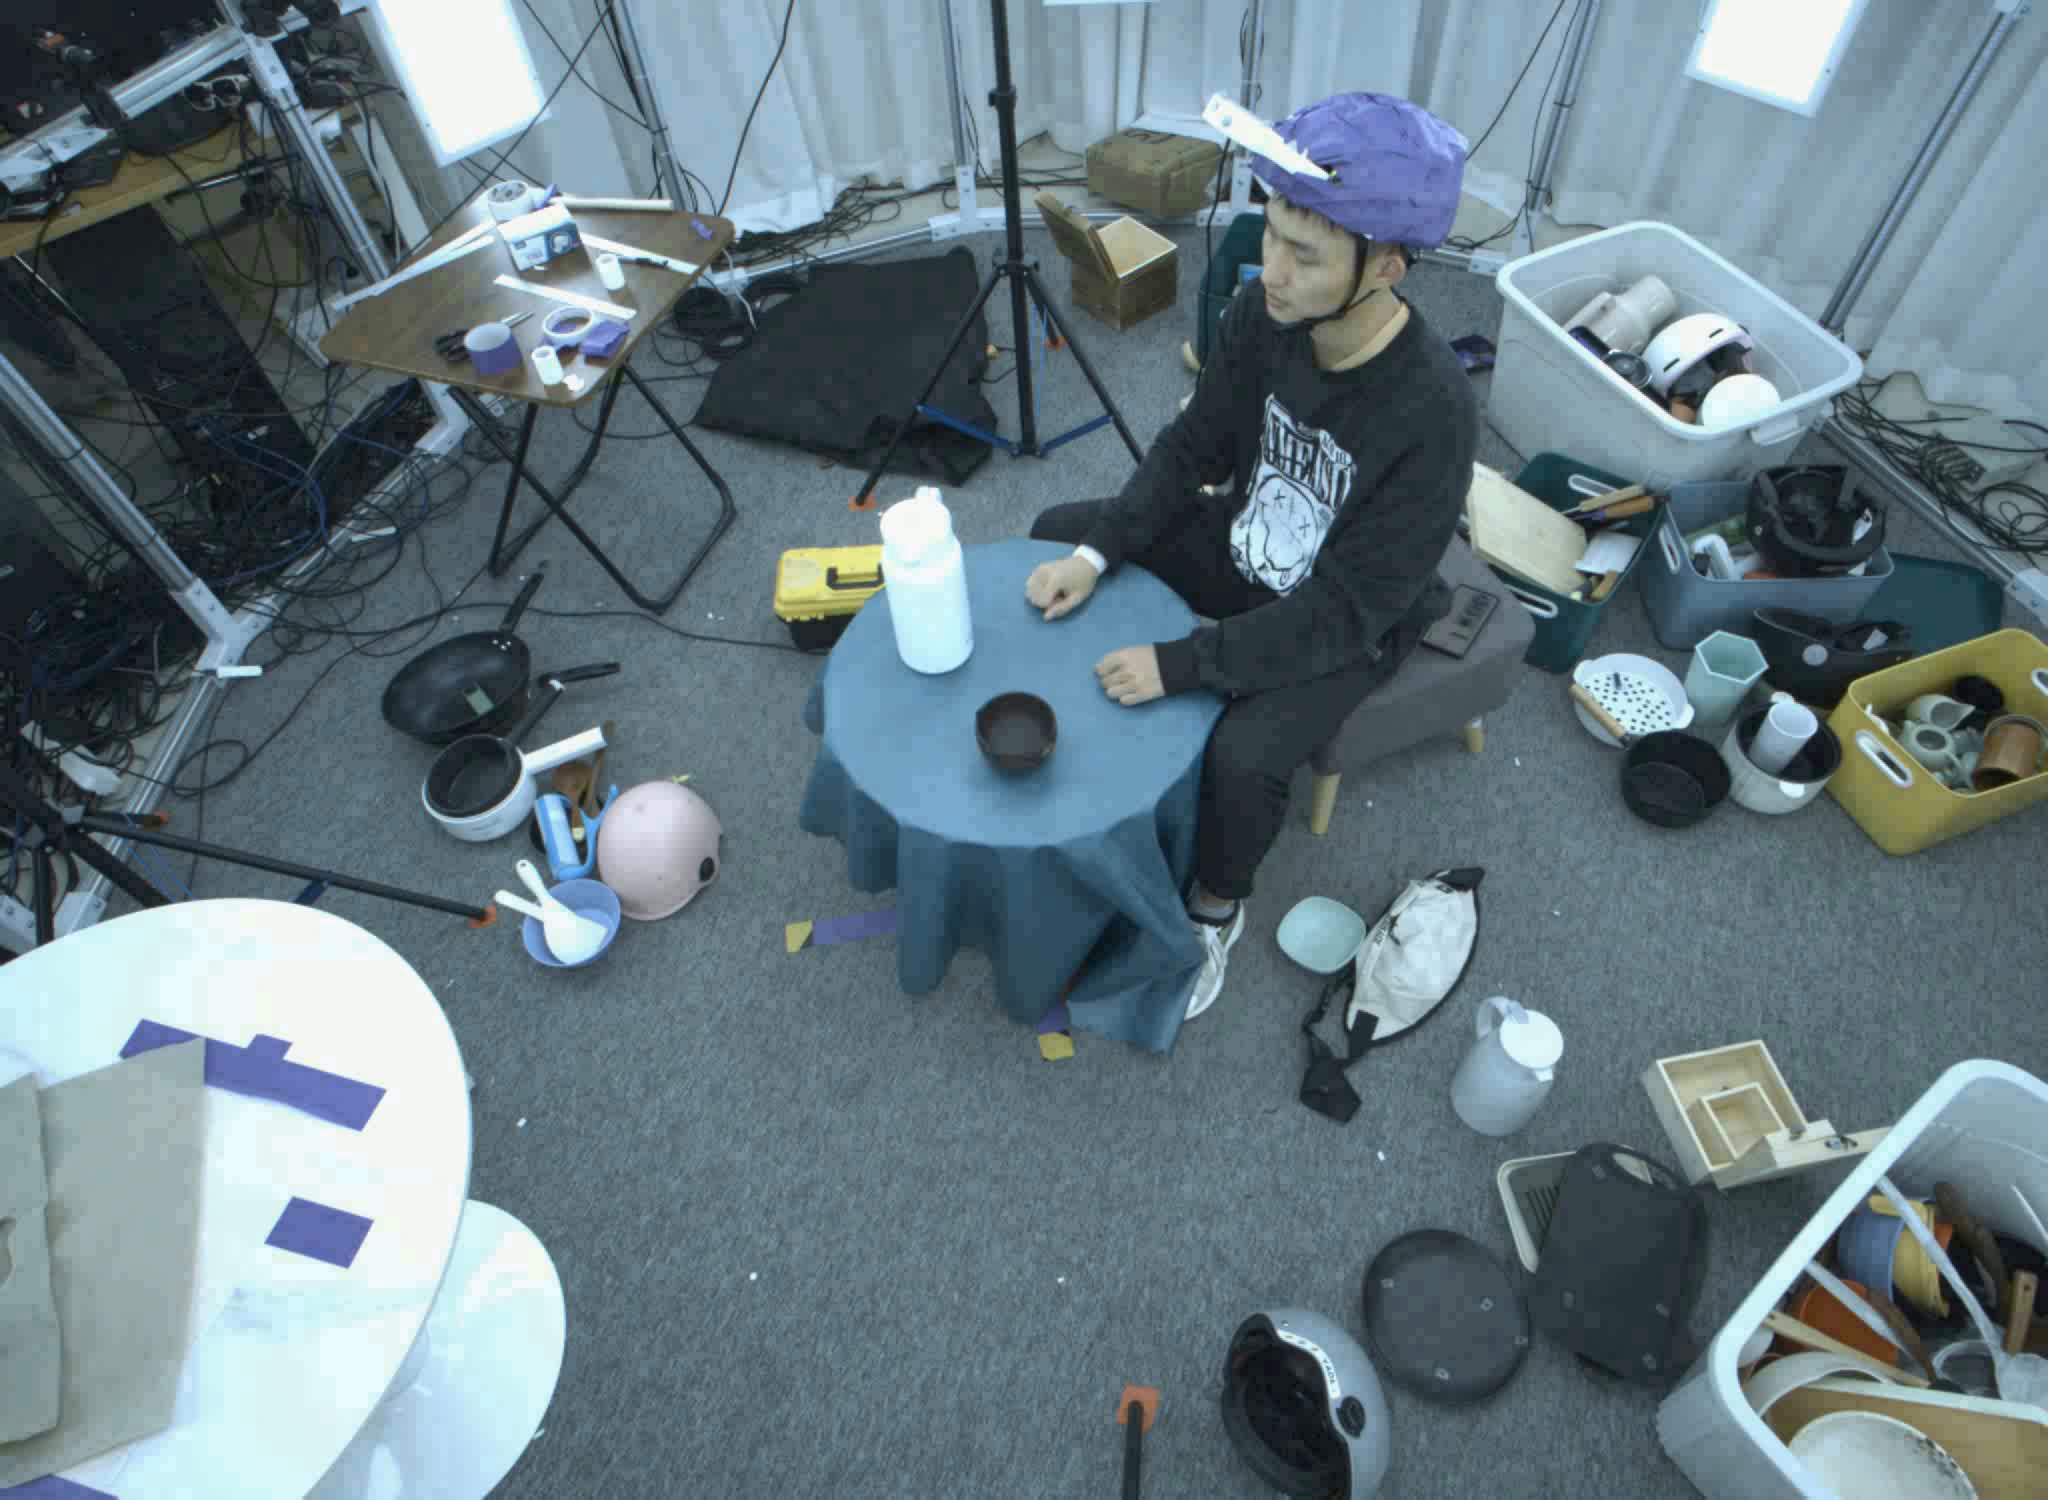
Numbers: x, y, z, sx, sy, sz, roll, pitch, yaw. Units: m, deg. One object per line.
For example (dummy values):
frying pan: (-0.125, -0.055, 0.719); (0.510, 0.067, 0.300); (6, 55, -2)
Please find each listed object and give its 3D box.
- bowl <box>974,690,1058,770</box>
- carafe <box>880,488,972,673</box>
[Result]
bowl: (-0.010, -0.020, 1.752); (0.118, 0.070, 0.117); (-1, 54, 2)
carafe: (-0.144, -0.252, 1.803); (0.123, 0.272, 0.171); (1, 54, 6)
